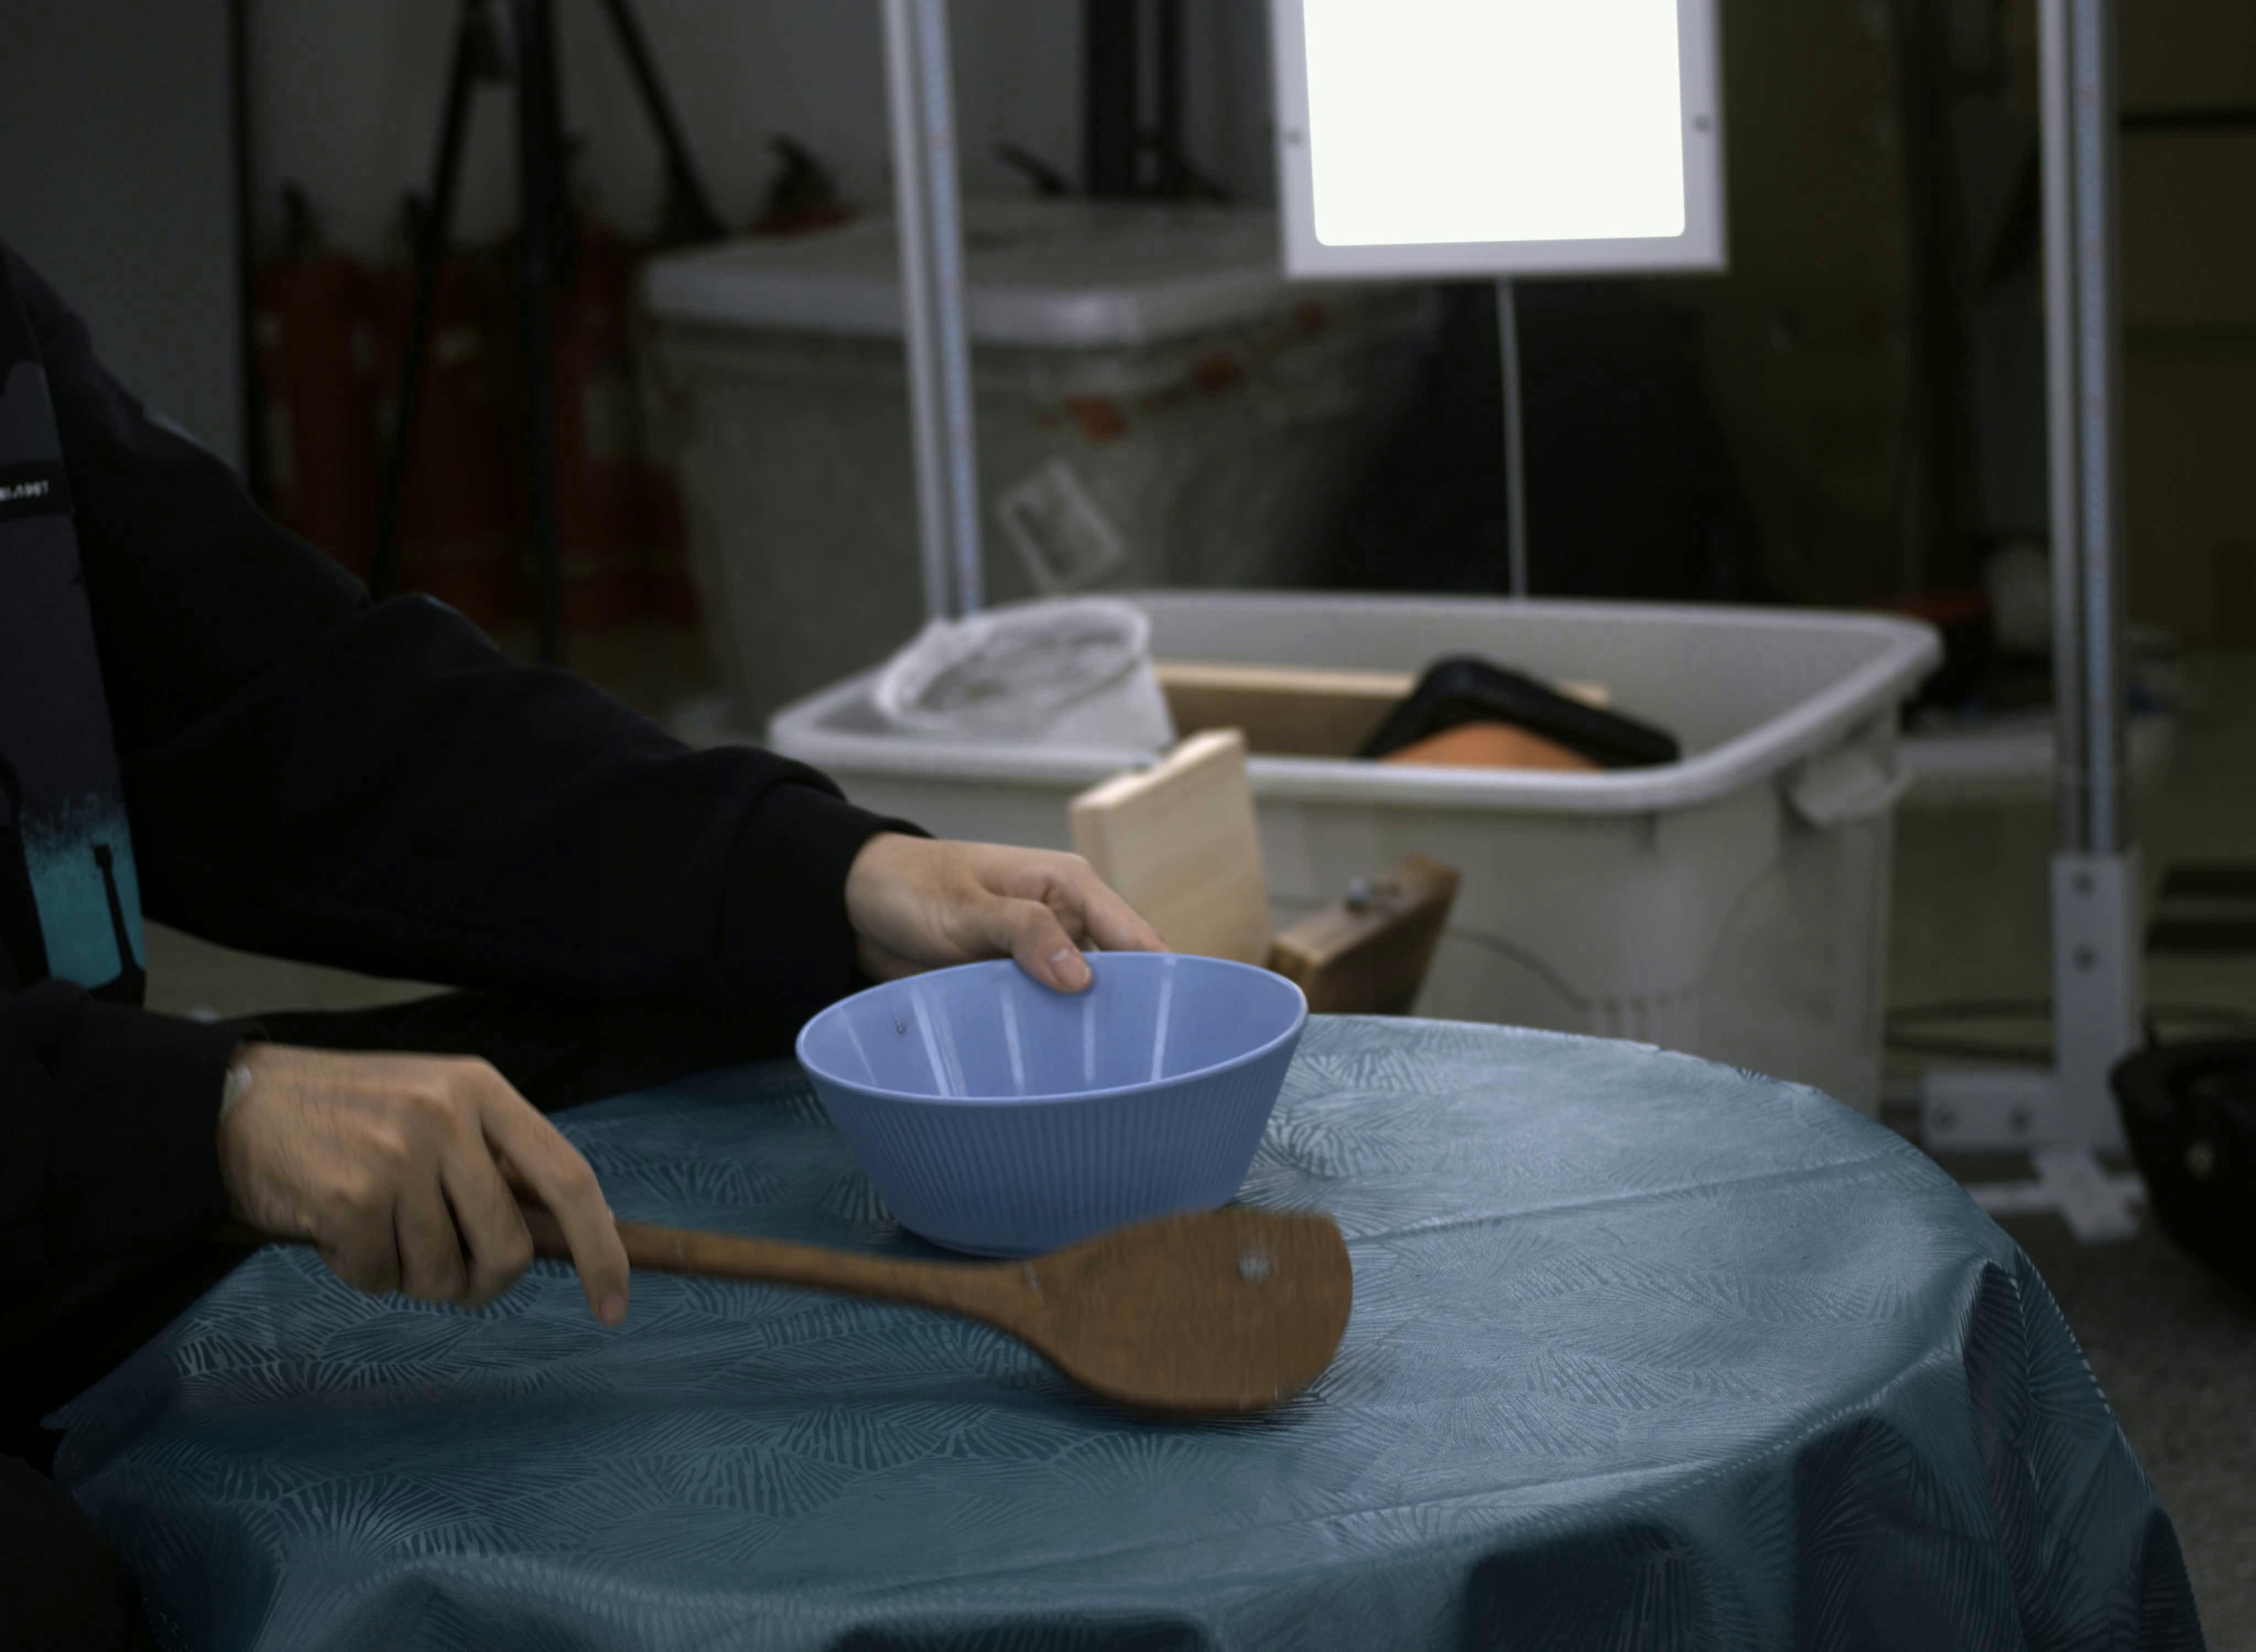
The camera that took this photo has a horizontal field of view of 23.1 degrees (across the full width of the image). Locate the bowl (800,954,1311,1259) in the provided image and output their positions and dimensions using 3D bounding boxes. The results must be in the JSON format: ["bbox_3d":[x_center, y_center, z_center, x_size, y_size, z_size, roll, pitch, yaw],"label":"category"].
[{"bbox_3d":[-0.022,0.098,1.876,0.175,0.070,0.176,-6,13,0],"label":"bowl"}]

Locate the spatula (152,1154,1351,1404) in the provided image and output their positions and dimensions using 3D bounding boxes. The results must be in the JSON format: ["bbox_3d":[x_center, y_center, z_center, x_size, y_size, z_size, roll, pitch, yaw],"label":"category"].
[{"bbox_3d":[-0.121,0.132,1.725,0.388,0.016,0.095,5,38,11],"label":"spatula"}]
